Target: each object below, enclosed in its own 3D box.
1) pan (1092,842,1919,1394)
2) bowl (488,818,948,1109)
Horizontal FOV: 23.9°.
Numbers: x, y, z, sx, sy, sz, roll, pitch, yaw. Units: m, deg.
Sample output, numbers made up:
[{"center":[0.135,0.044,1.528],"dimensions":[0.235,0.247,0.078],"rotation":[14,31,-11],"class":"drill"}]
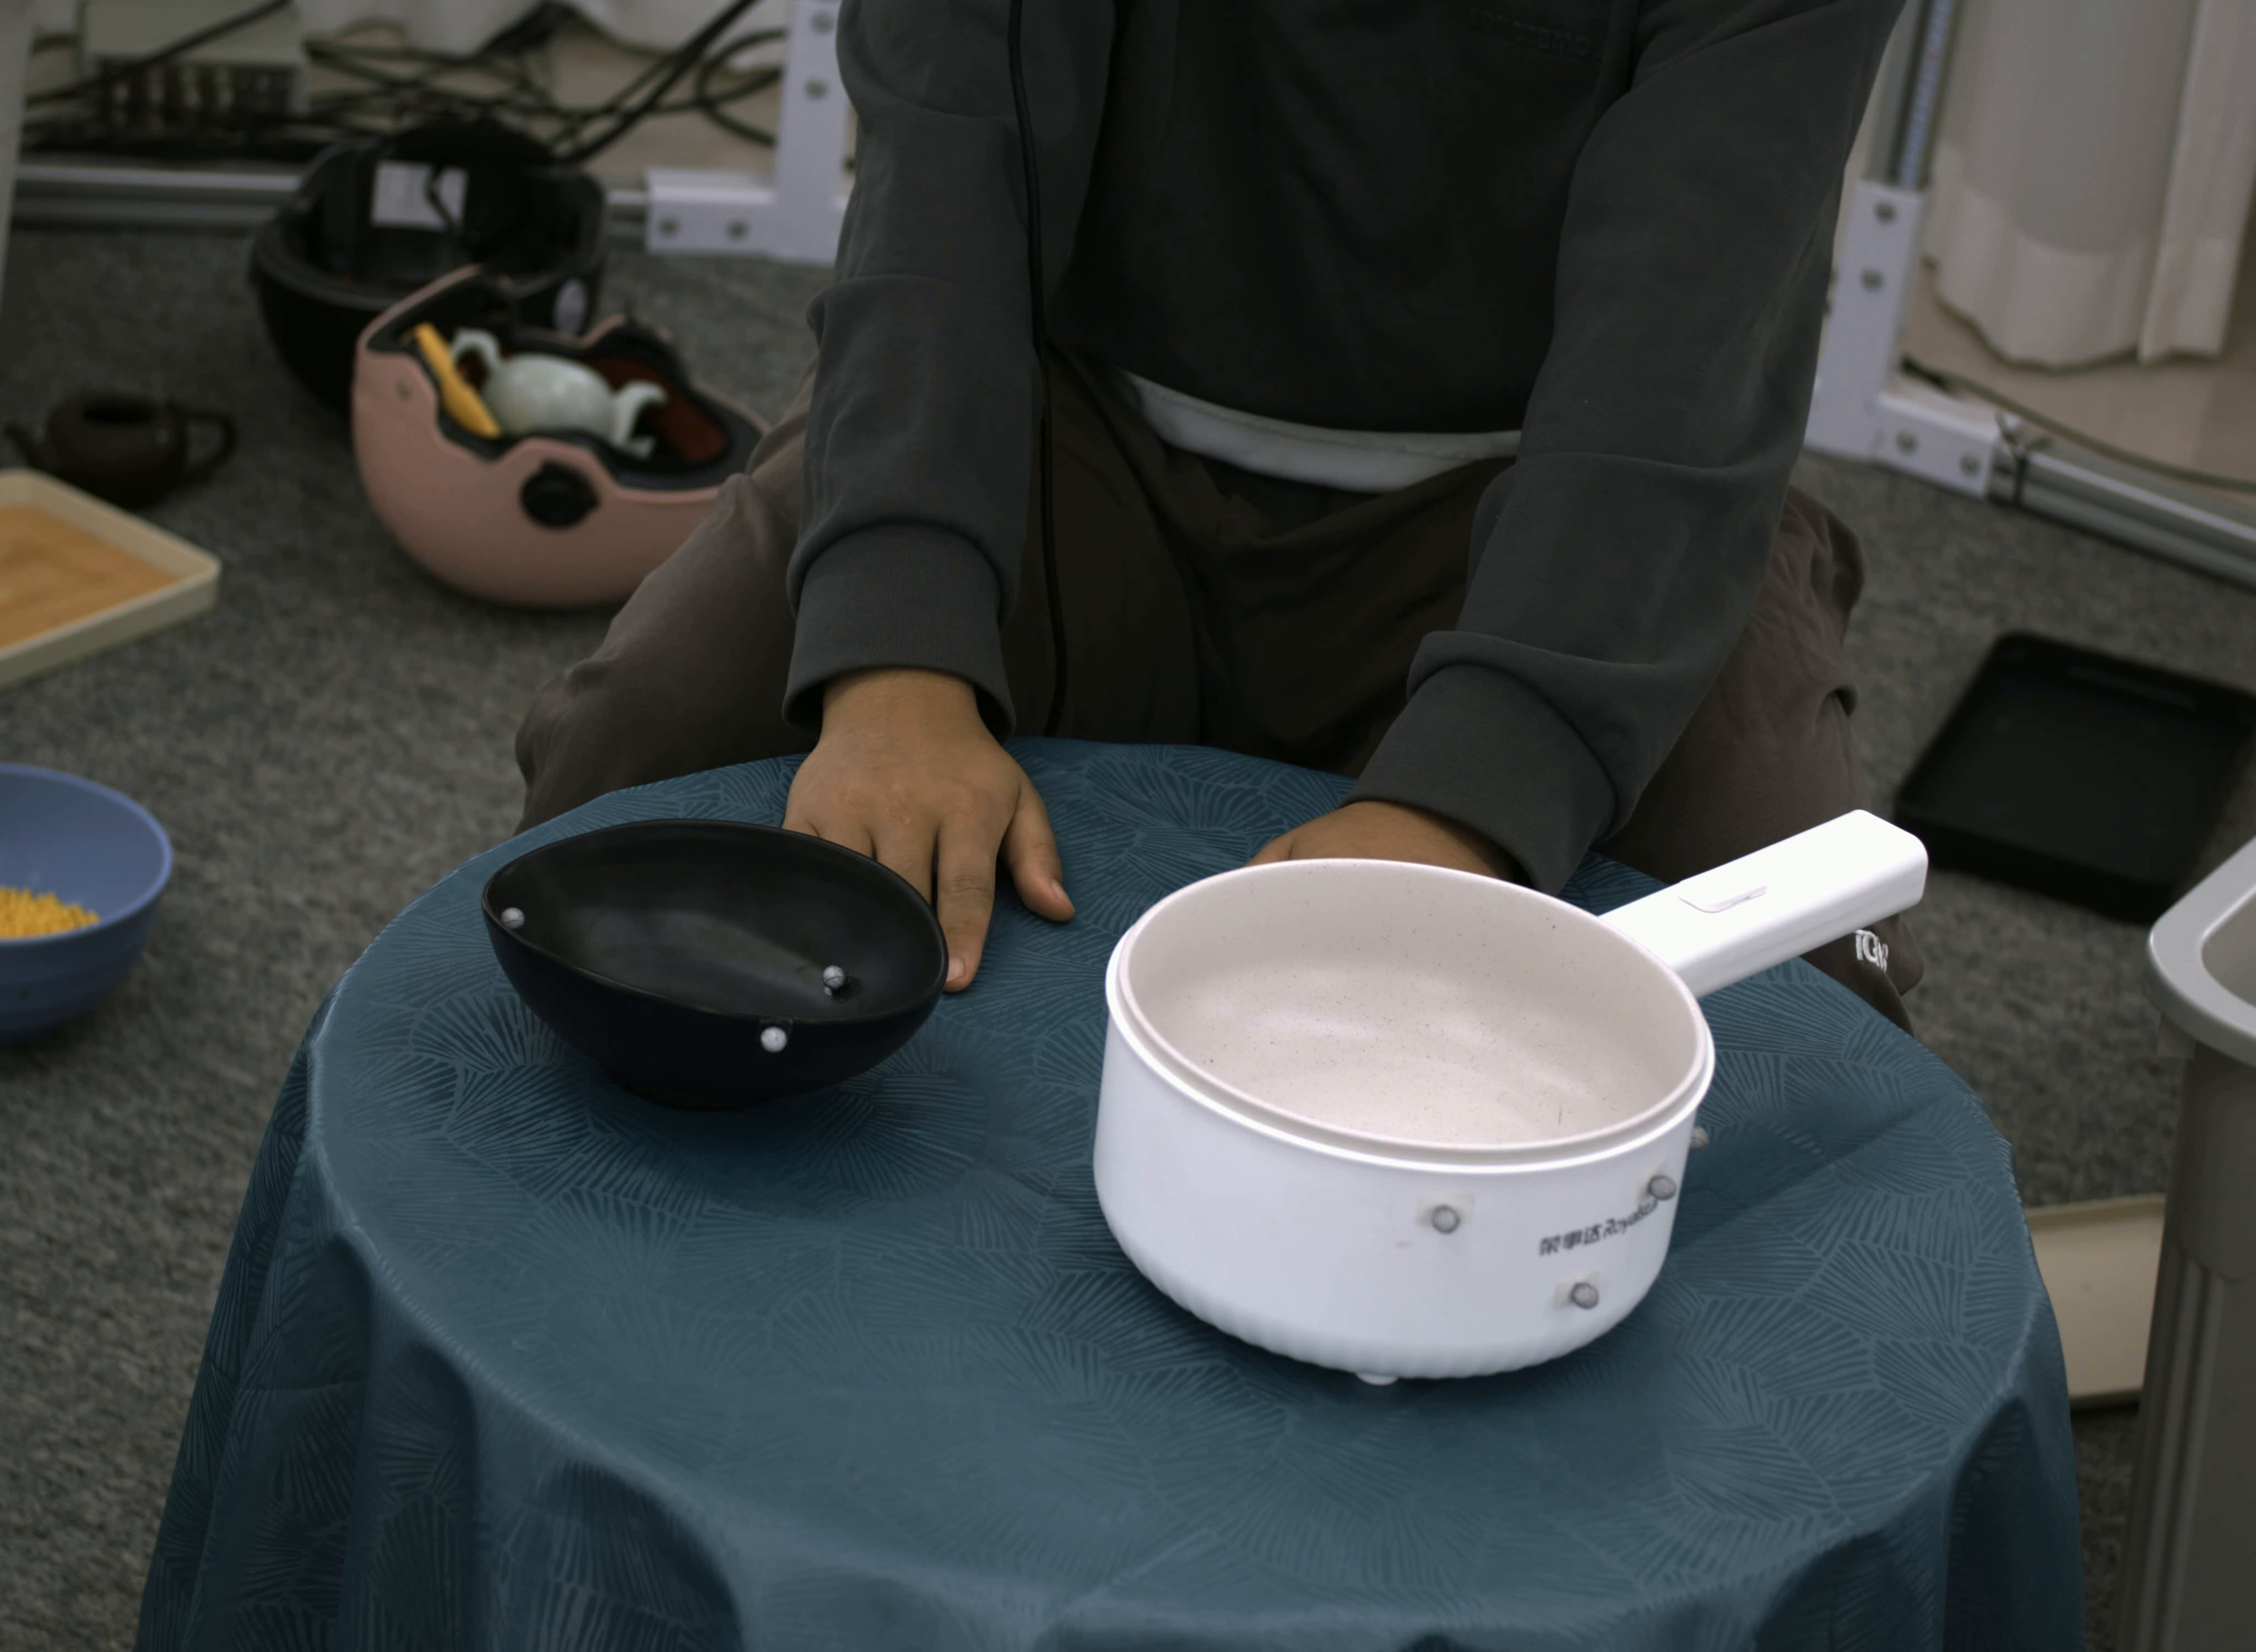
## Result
[{"center":[0.141,0.090,1.815],"dimensions":[0.353,0.102,0.203],"rotation":[-17,31,-42],"class":"pan"},{"center":[-0.145,0.055,1.836],"dimensions":[0.171,0.066,0.137],"rotation":[17,28,22],"class":"bowl"}]
